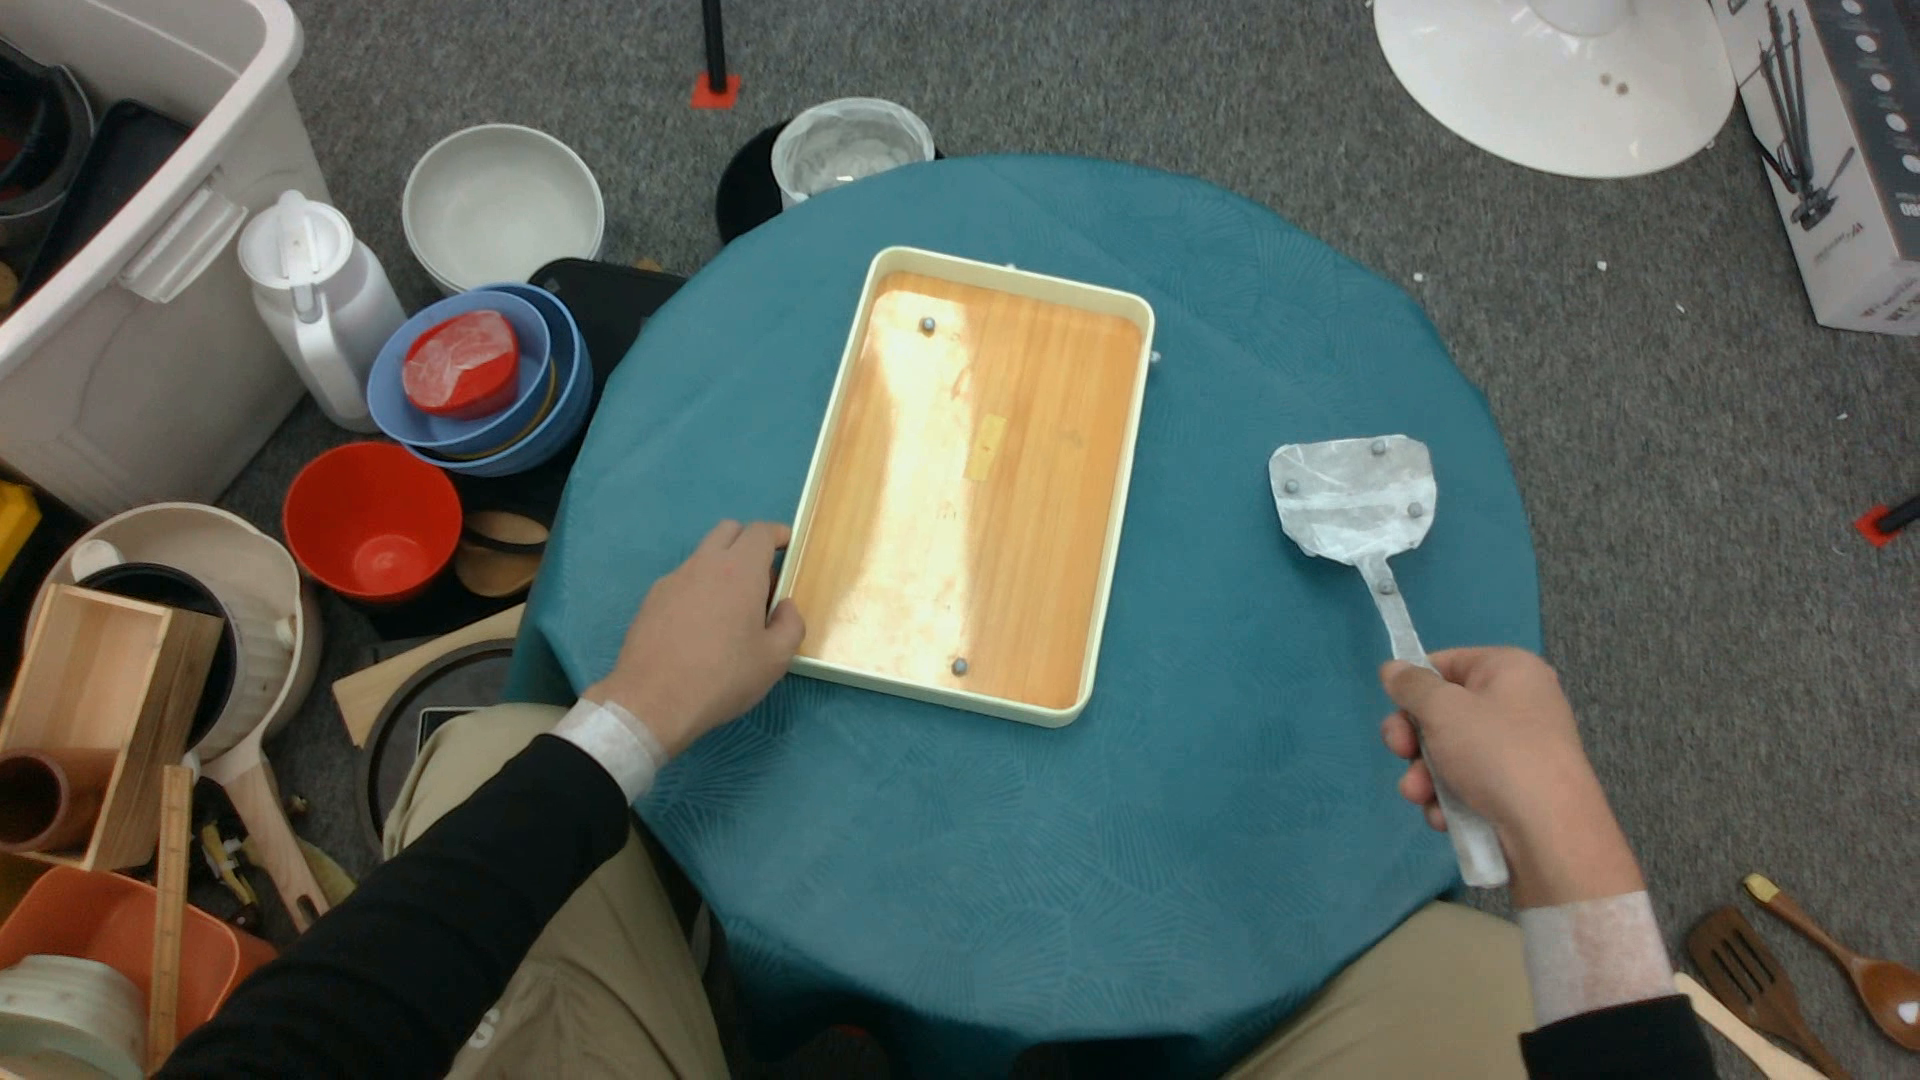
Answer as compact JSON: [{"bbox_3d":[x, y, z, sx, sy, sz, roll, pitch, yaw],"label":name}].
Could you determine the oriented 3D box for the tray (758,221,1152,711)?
[{"bbox_3d":[0.004,-0.055,0.843,0.191,0.027,0.301,13,64,1],"label":"tray"}]

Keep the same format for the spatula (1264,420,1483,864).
[{"bbox_3d":[0.228,0.030,0.728,0.098,0.044,0.366,-5,28,8],"label":"spatula"}]
